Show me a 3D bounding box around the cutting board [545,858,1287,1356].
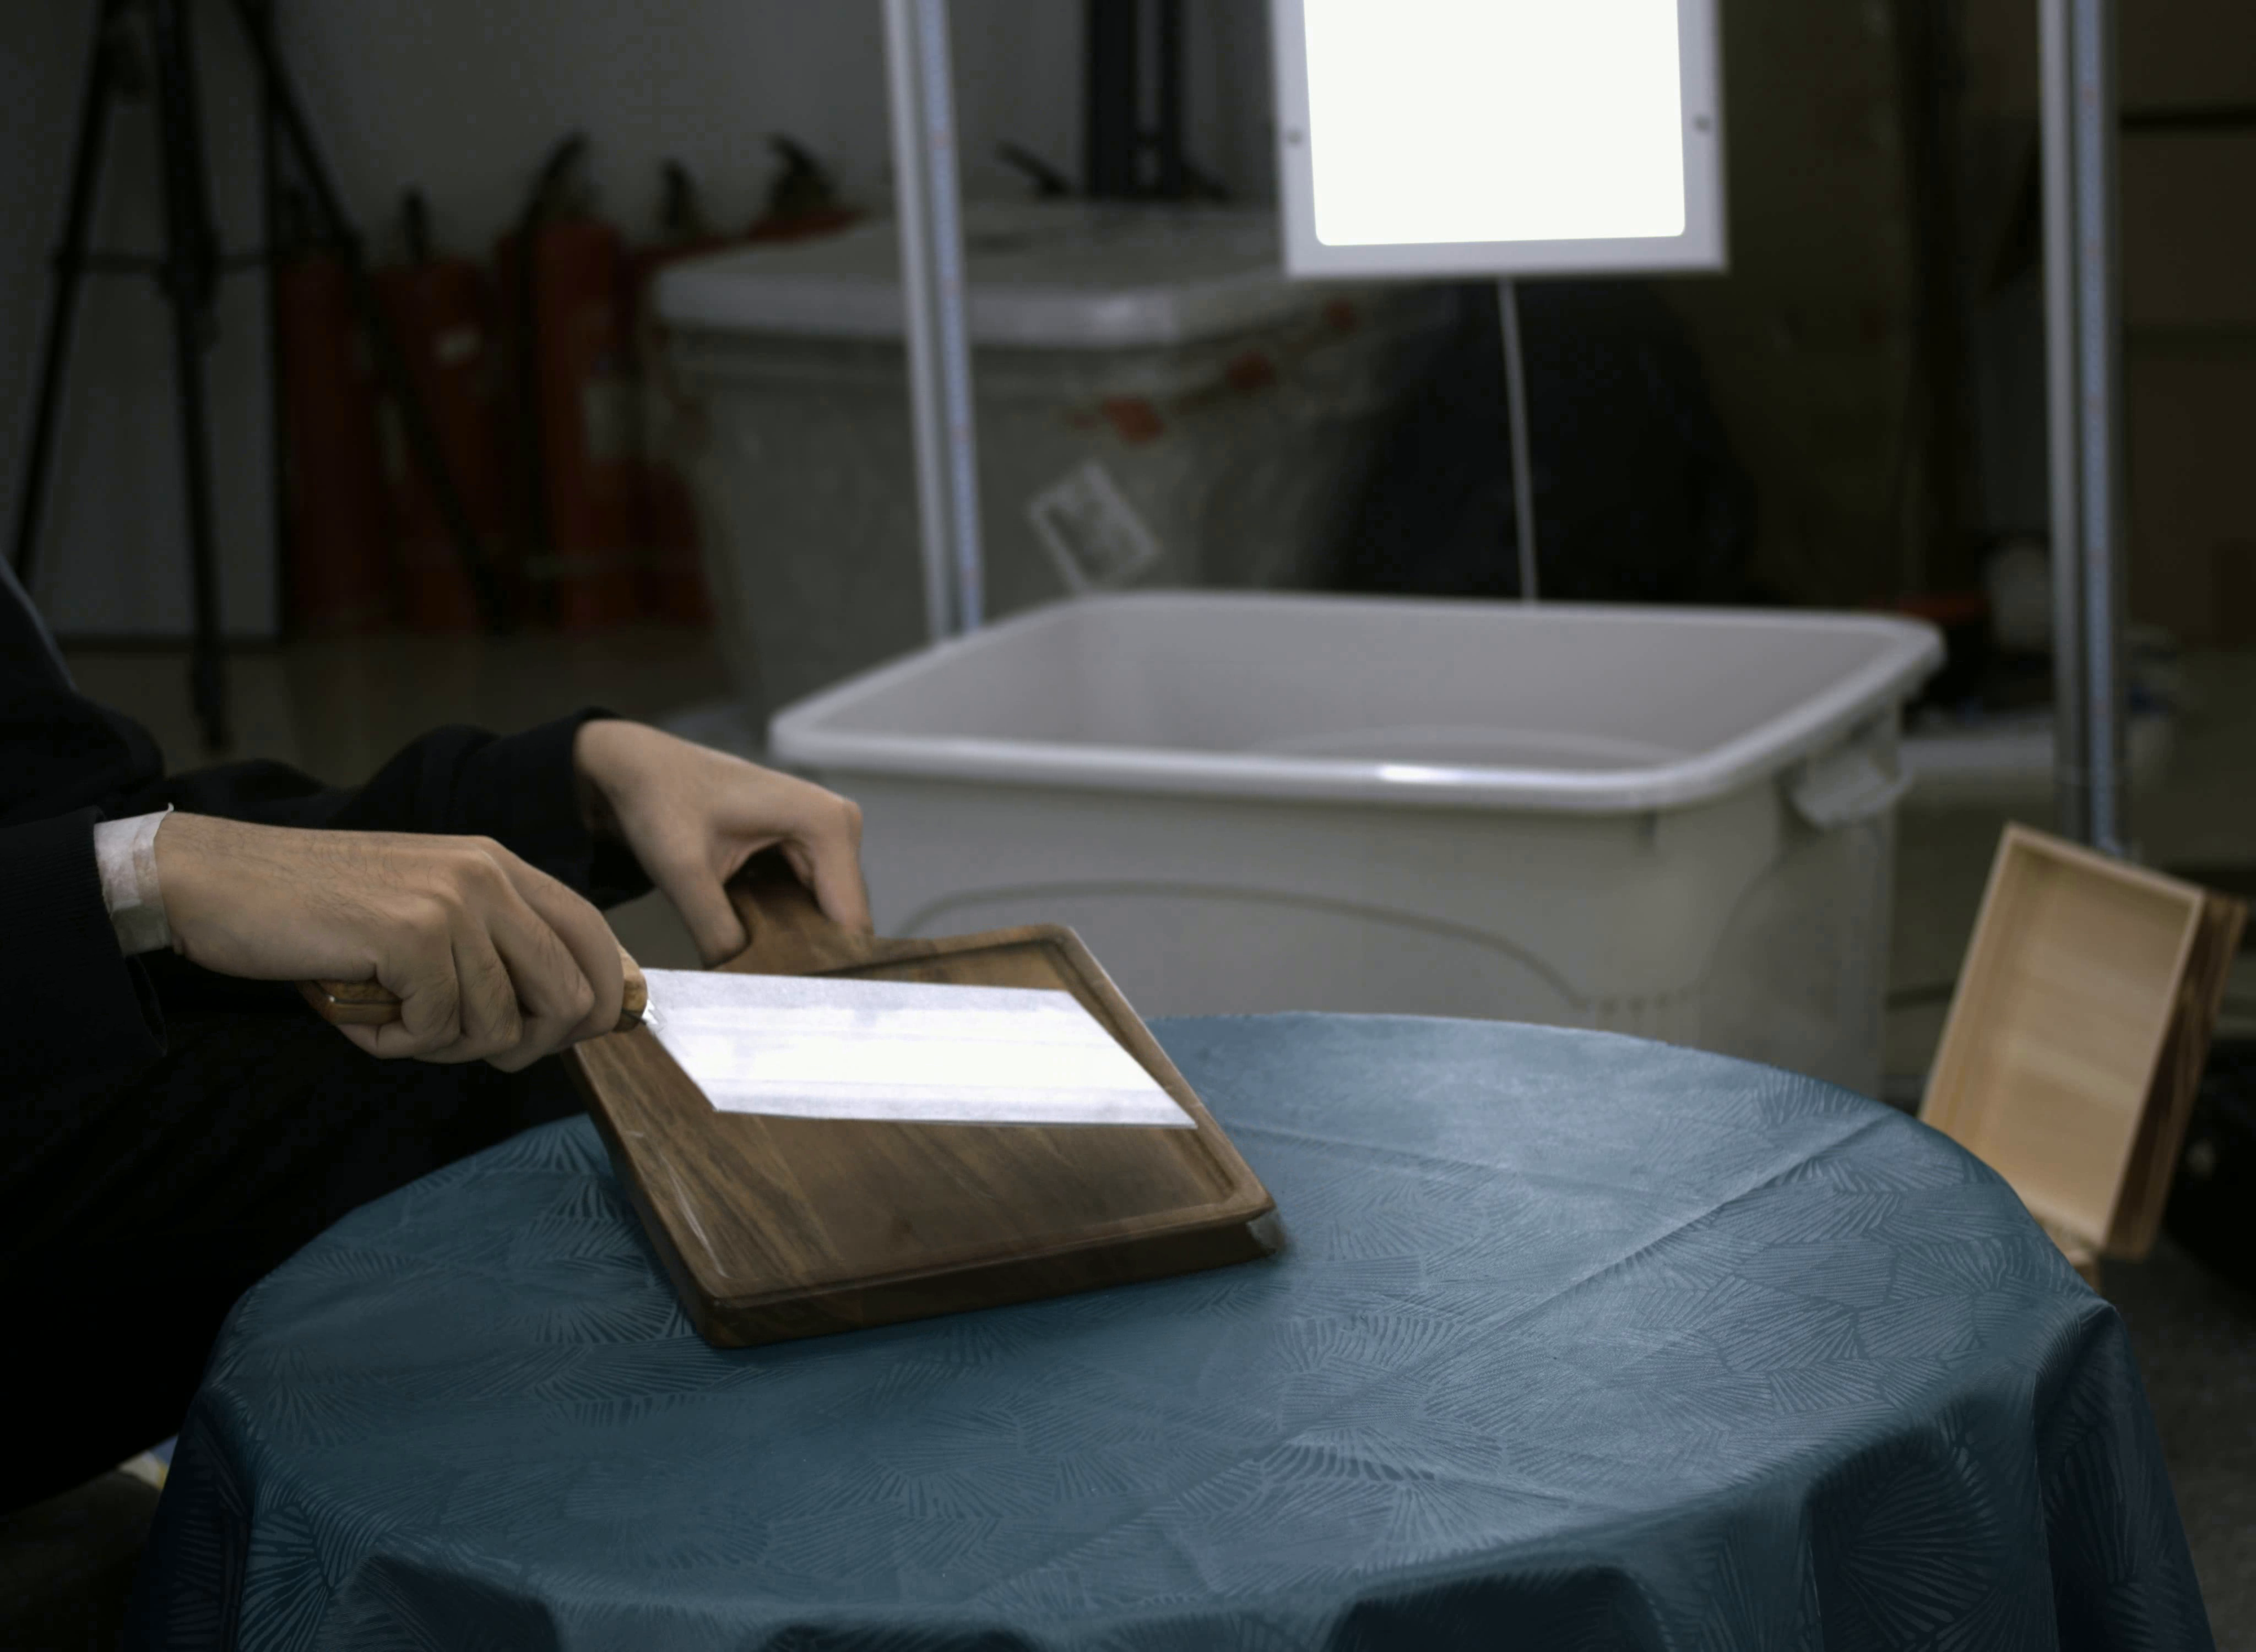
[{"bbox_3d":[-0.093,0.085,1.939,0.198,0.023,0.355,-10,24,-15],"label":"cutting board"}]

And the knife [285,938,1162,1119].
[{"bbox_3d":[-0.120,0.067,1.766,0.298,0.021,0.094,4,27,-35],"label":"knife"}]
